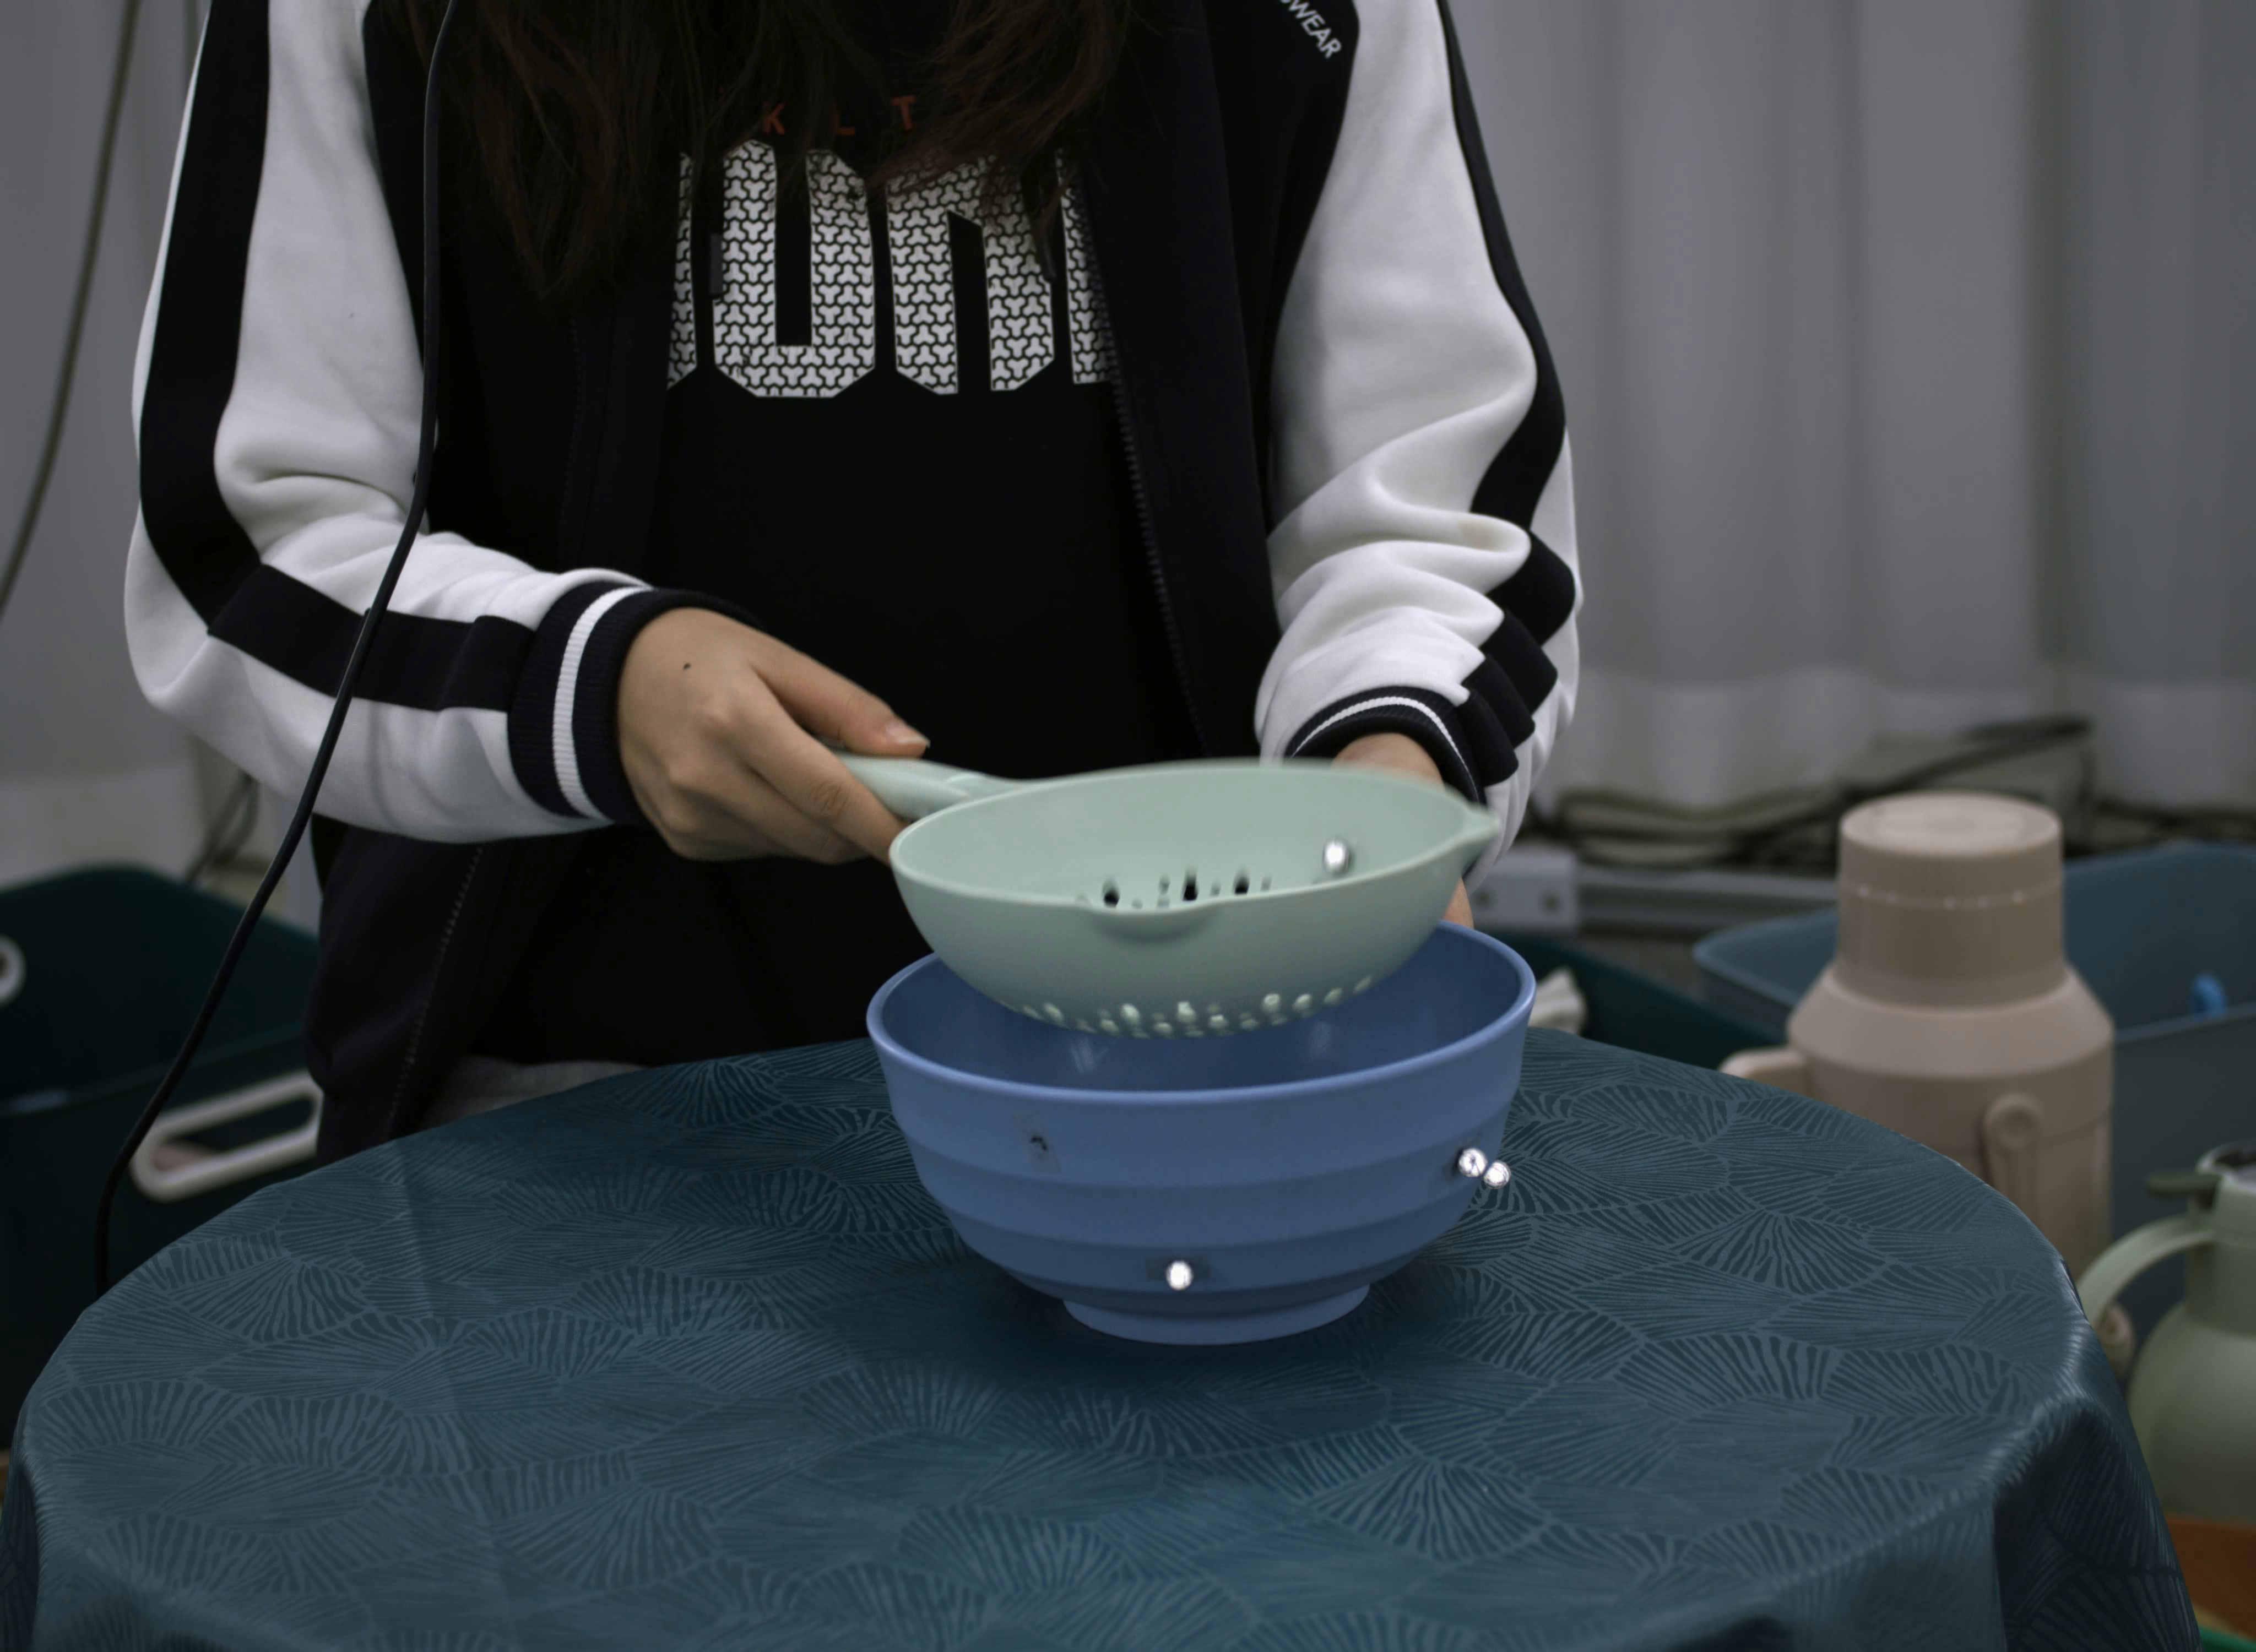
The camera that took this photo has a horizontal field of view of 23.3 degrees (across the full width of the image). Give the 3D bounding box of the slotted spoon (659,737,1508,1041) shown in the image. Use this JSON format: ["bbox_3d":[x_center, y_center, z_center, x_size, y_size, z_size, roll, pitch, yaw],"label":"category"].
[{"bbox_3d":[-0.042,0.003,1.661,0.168,0.075,0.362,-7,19,-36],"label":"slotted spoon"}]

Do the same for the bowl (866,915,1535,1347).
[{"bbox_3d":[0.023,0.093,1.608,0.196,0.095,0.198,-3,14,1],"label":"bowl"}]
